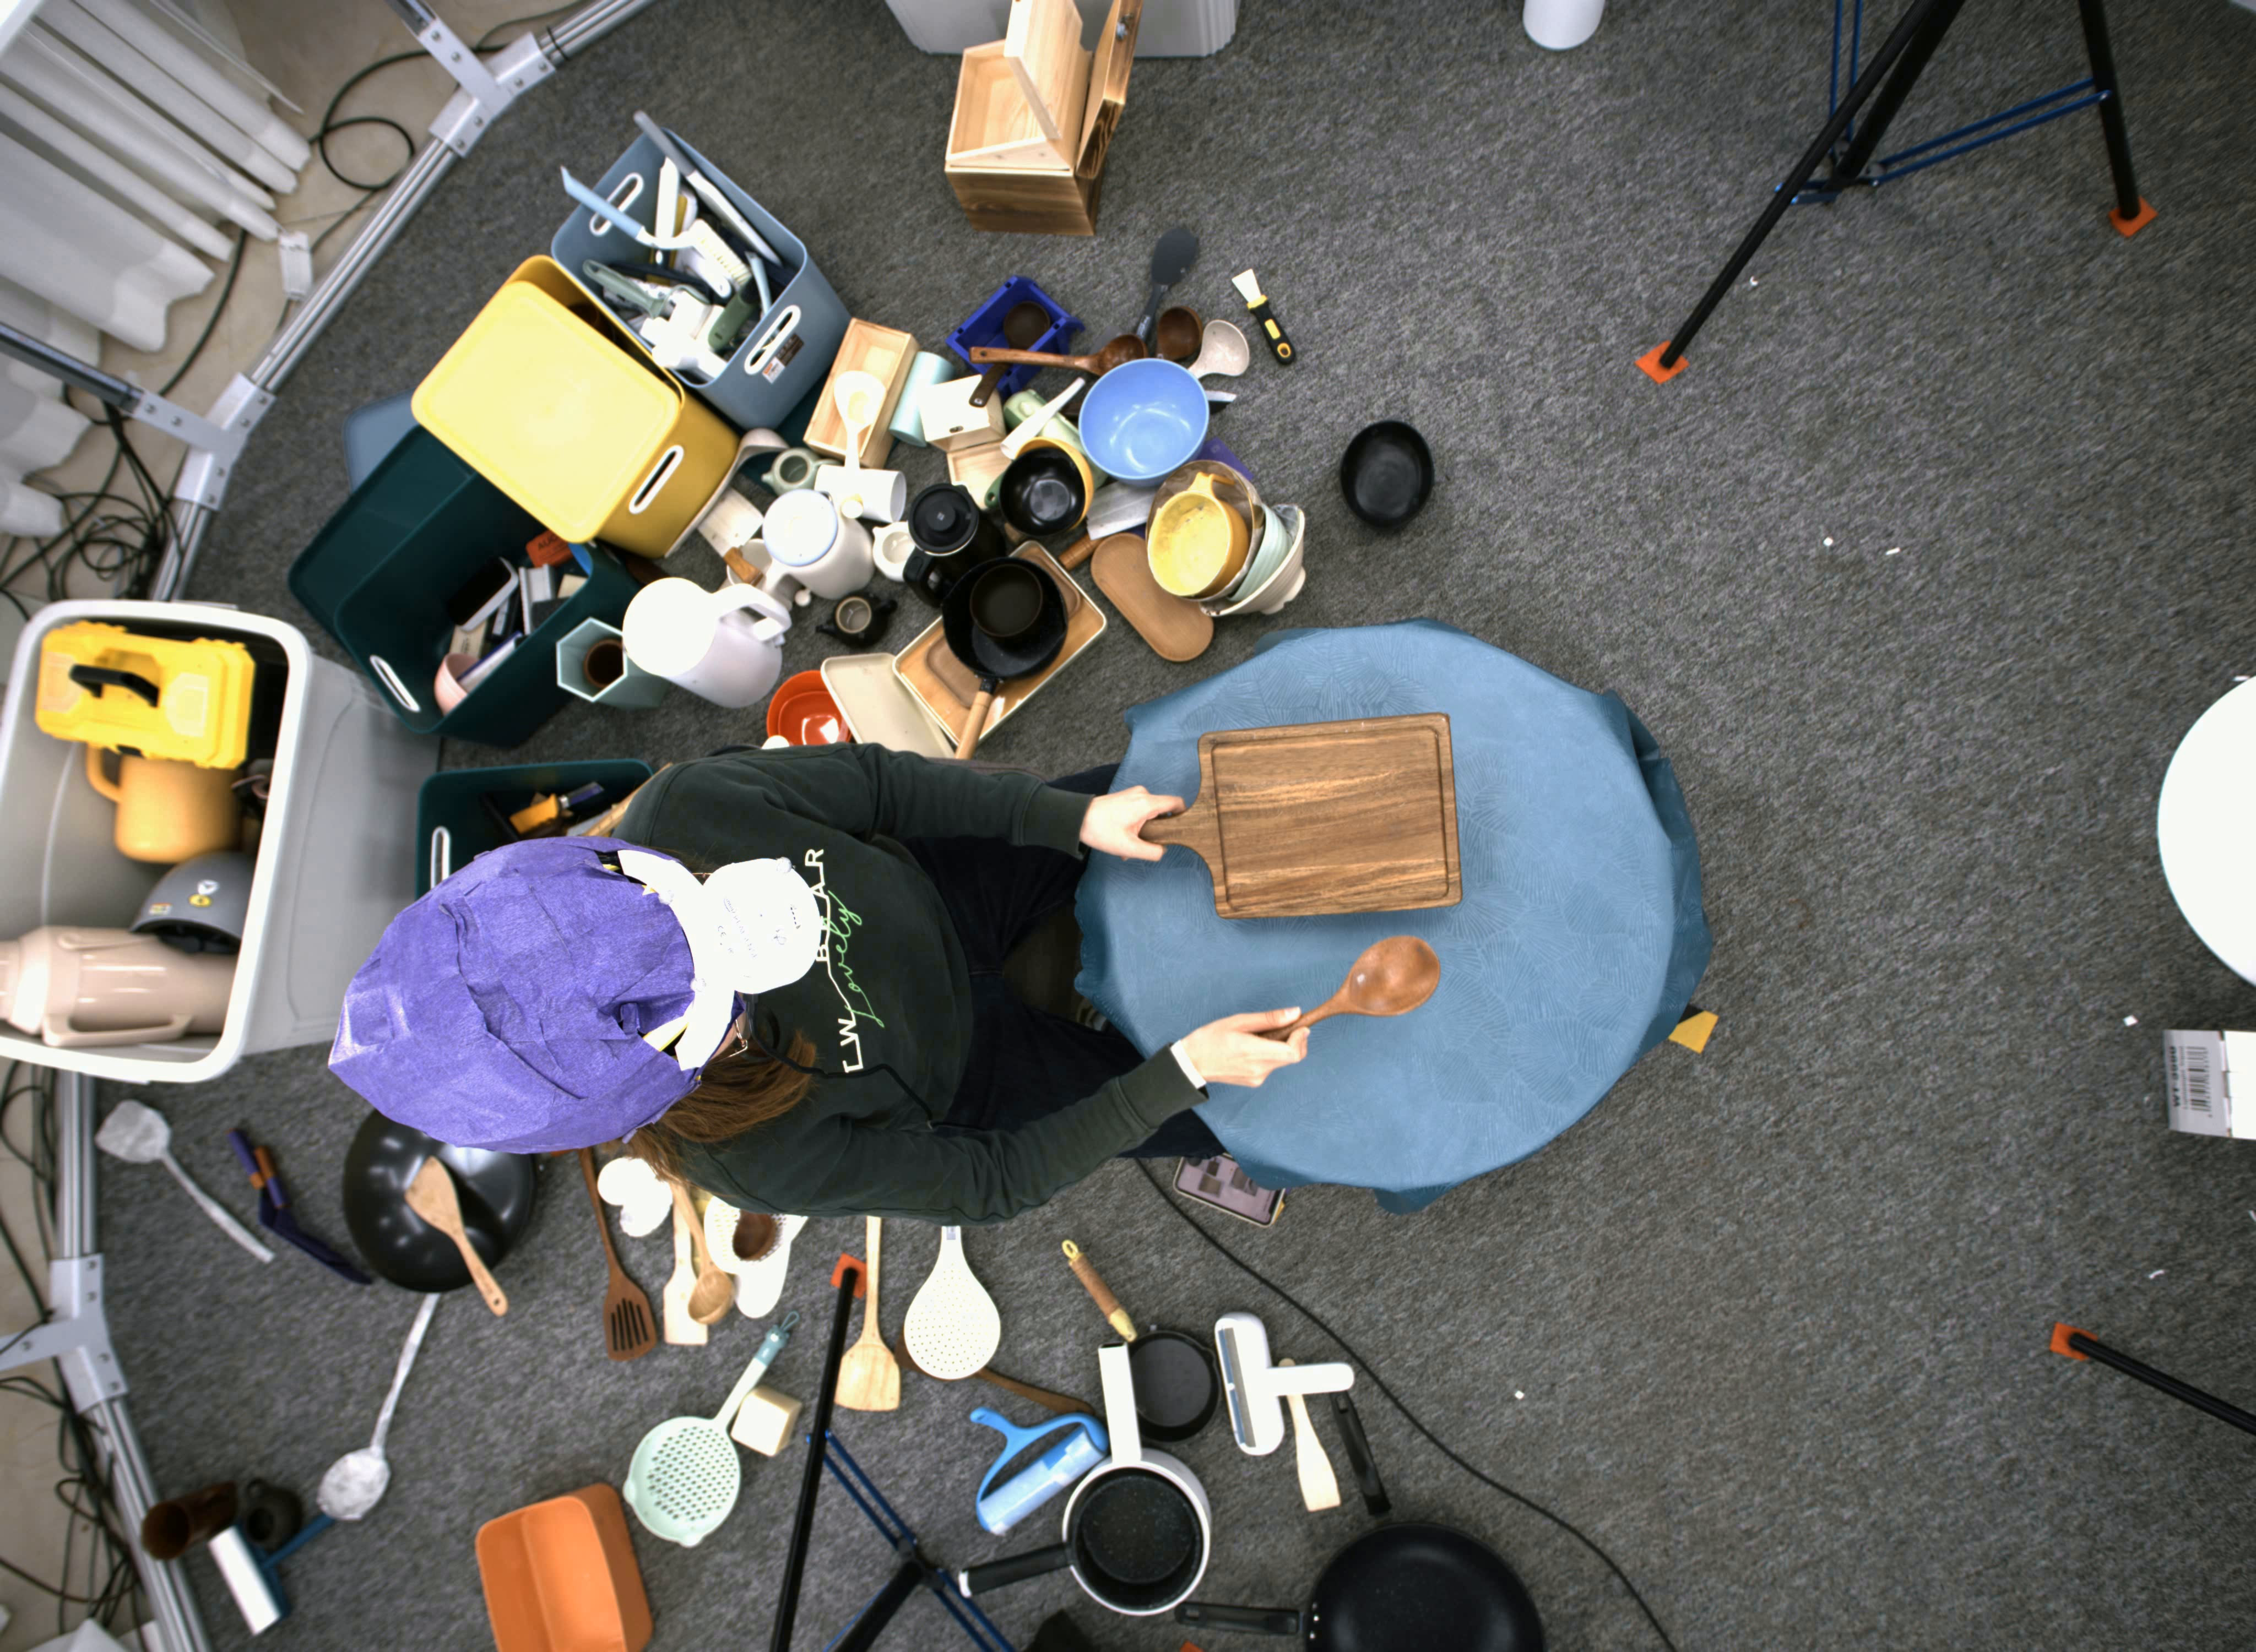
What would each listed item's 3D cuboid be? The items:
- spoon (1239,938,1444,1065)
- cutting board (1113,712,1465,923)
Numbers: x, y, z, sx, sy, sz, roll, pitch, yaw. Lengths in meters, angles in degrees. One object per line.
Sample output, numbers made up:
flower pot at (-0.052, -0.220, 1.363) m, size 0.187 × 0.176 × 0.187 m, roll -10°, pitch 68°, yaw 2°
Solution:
spoon at (0.202, 0.174, 1.327) m, size 0.218 × 0.017 × 0.074 m, roll -28°, pitch 67°, yaw 14°
cutting board at (0.157, -0.003, 1.406) m, size 0.354 × 0.023 × 0.203 m, roll -4°, pitch 105°, yaw 14°
